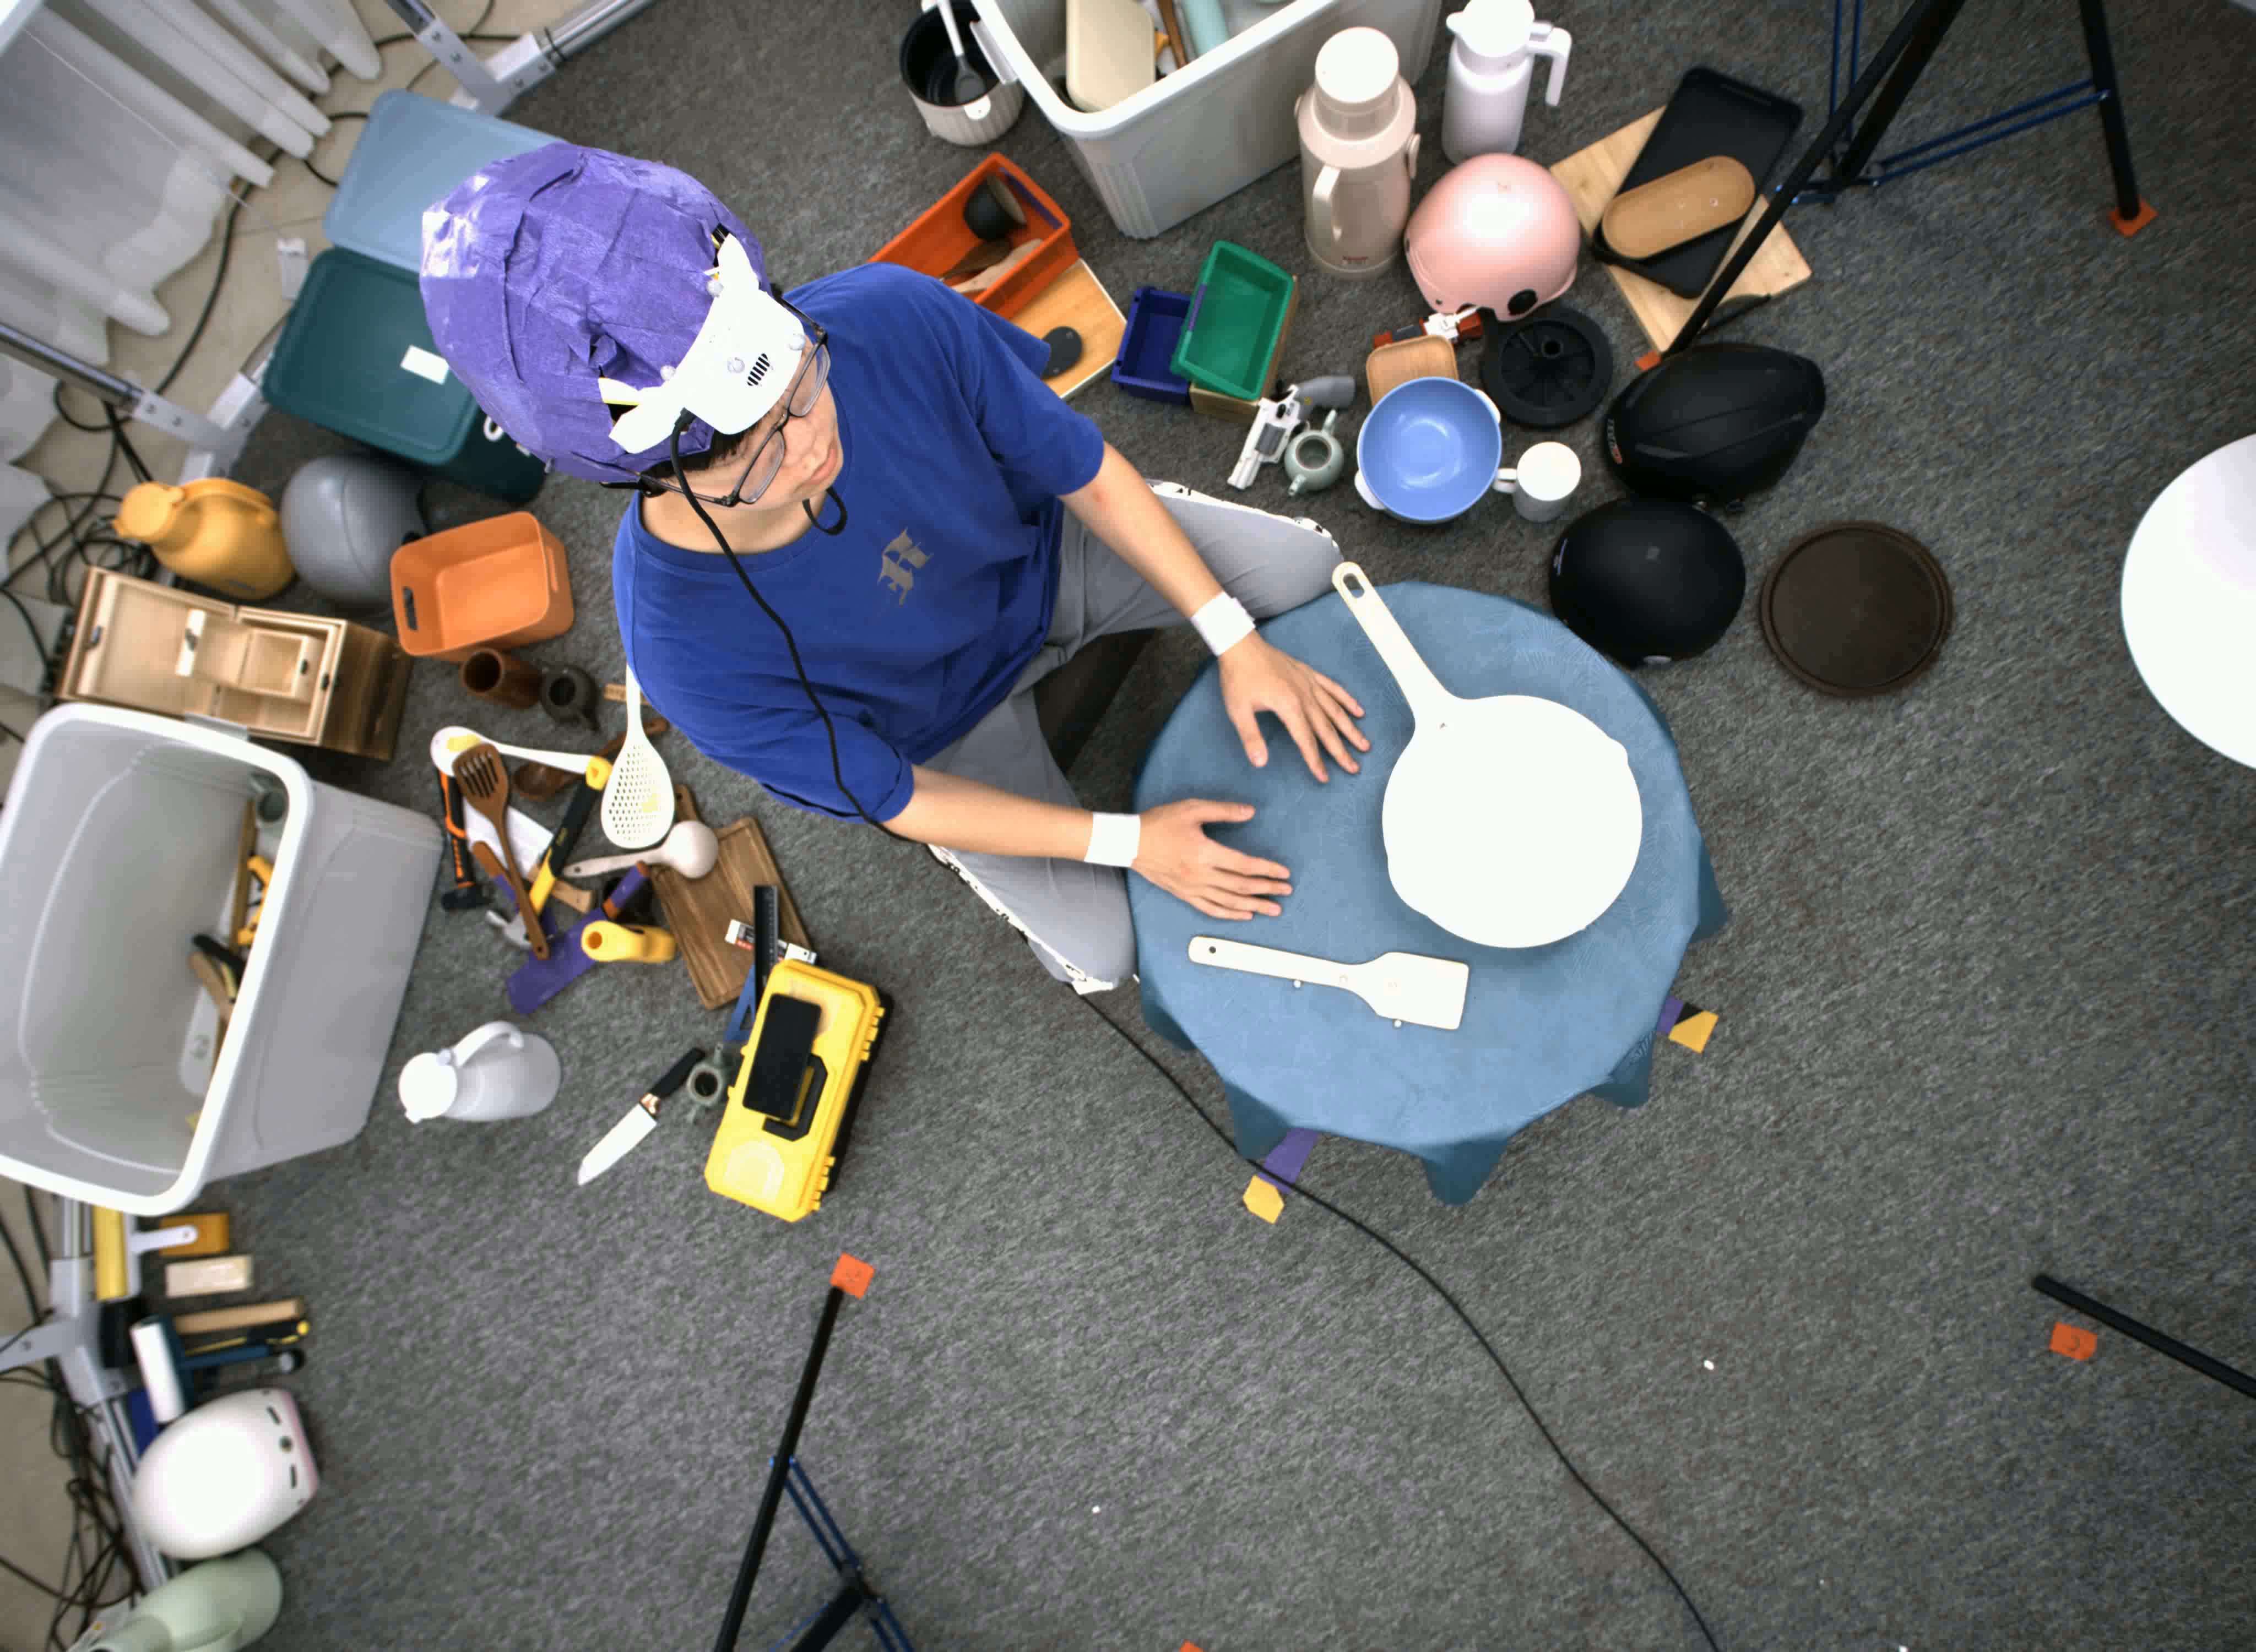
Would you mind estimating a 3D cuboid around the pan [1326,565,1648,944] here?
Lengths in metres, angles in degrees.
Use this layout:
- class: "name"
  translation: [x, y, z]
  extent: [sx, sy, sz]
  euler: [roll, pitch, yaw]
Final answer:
- class: "pan"
  translation: [0.339, -0.083, 1.402]
  extent: [0.265, 0.102, 0.432]
  euler: [-35, 81, 8]

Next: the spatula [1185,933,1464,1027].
- class: "spatula"
  translation: [0.204, 0.152, 1.462]
  extent: [0.293, 0.010, 0.072]
  euler: [9, 90, 11]
